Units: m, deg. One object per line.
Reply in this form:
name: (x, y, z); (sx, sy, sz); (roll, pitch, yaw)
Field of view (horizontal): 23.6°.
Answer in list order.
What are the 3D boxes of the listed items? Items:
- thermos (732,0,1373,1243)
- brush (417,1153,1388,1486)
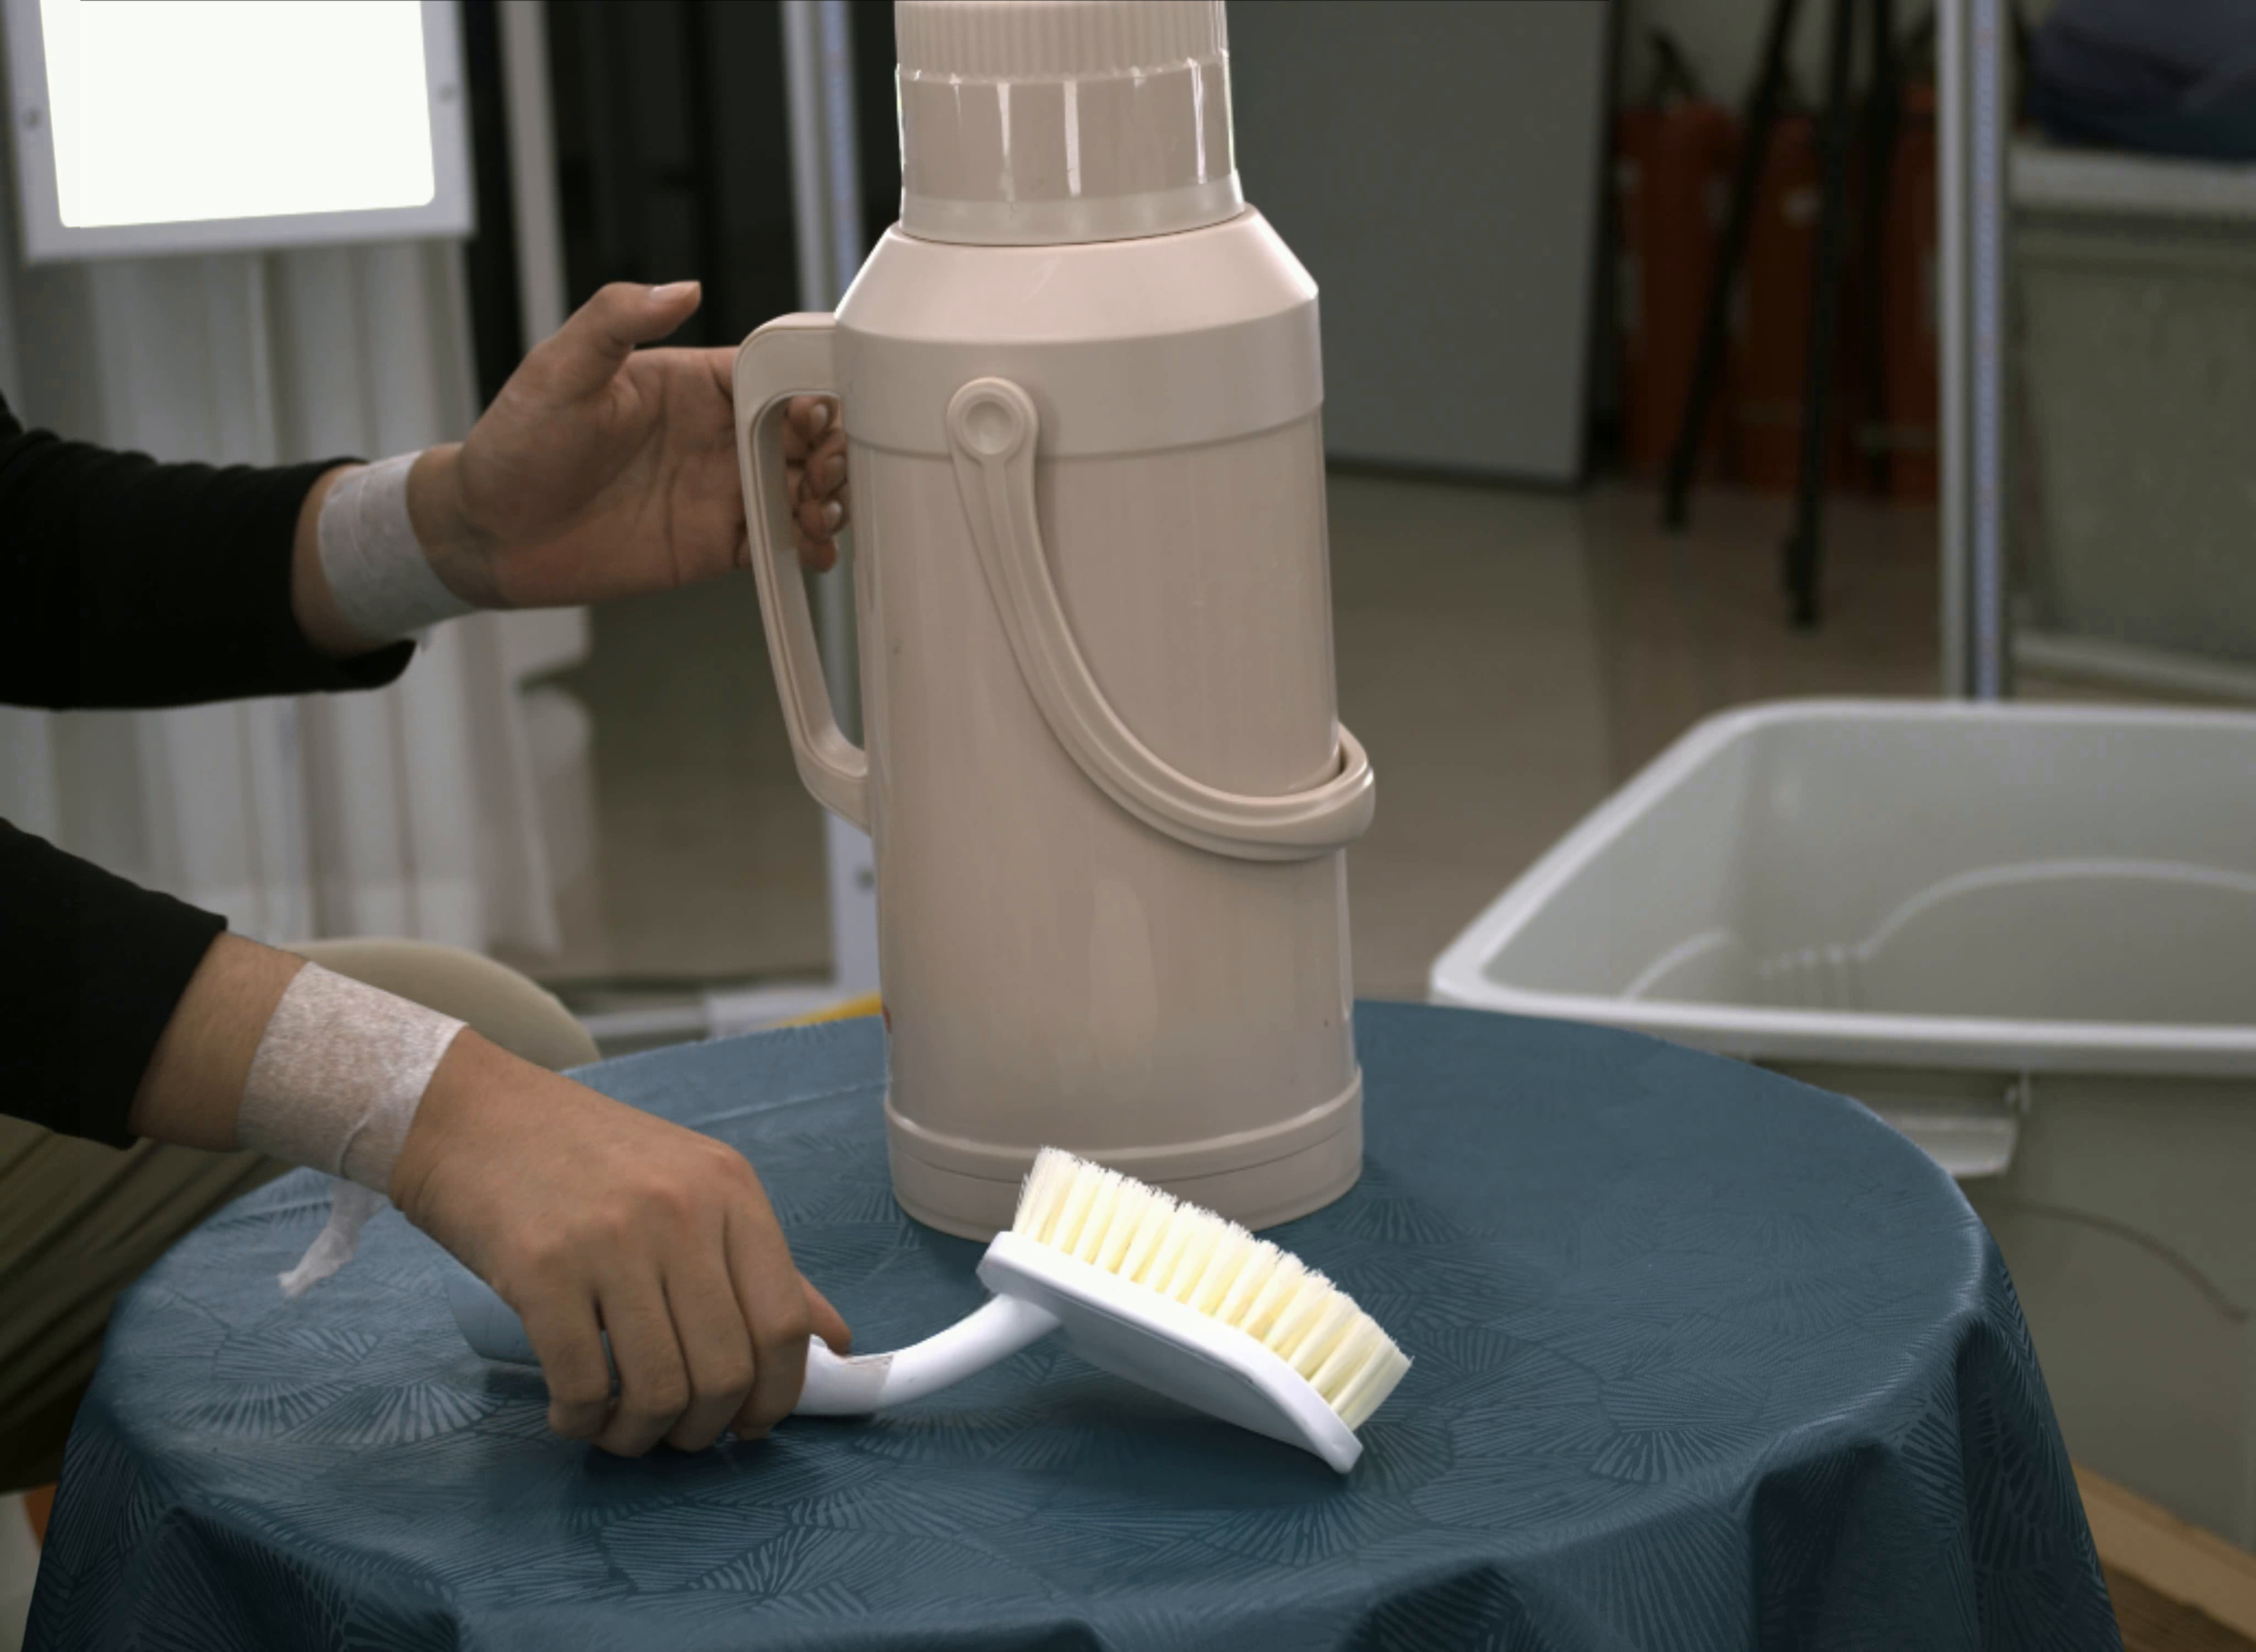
thermos: (-0.024, -0.078, 1.749); (0.206, 0.411, 0.174); (1, 16, 19)
brush: (-0.068, 0.129, 1.585); (0.327, 0.084, 0.083); (6, 22, 31)
